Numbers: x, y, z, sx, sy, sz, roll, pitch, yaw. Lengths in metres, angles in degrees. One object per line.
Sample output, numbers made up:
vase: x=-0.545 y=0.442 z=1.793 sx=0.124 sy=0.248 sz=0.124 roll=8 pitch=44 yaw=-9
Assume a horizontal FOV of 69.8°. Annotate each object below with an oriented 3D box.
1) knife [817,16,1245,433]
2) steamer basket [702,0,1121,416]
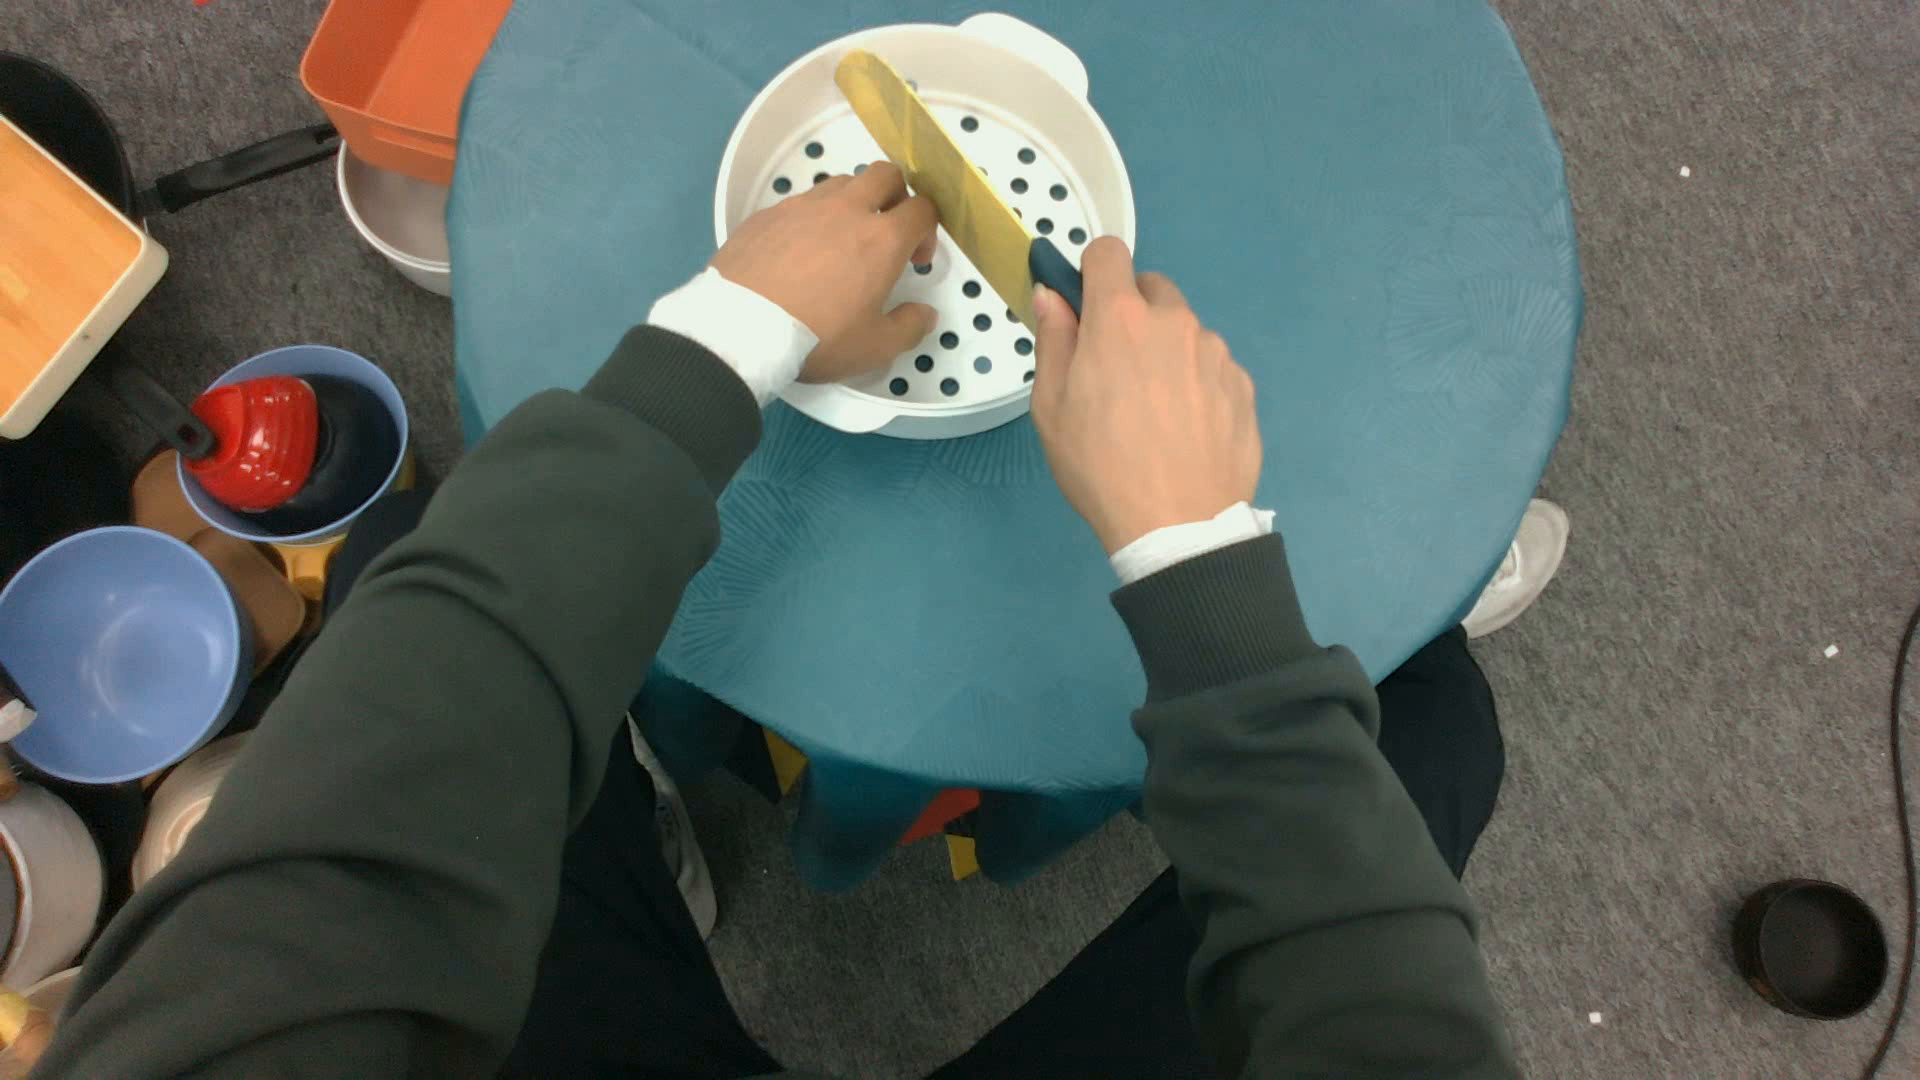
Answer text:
knife: x=0.020 y=-0.143 z=0.619 sx=0.027 sy=0.080 sz=0.290 roll=-30 pitch=65 yaw=-26
steamer basket: x=-0.024 y=-0.161 z=0.688 sx=0.202 sy=0.069 sz=0.231 roll=29 pitch=78 yaw=2
